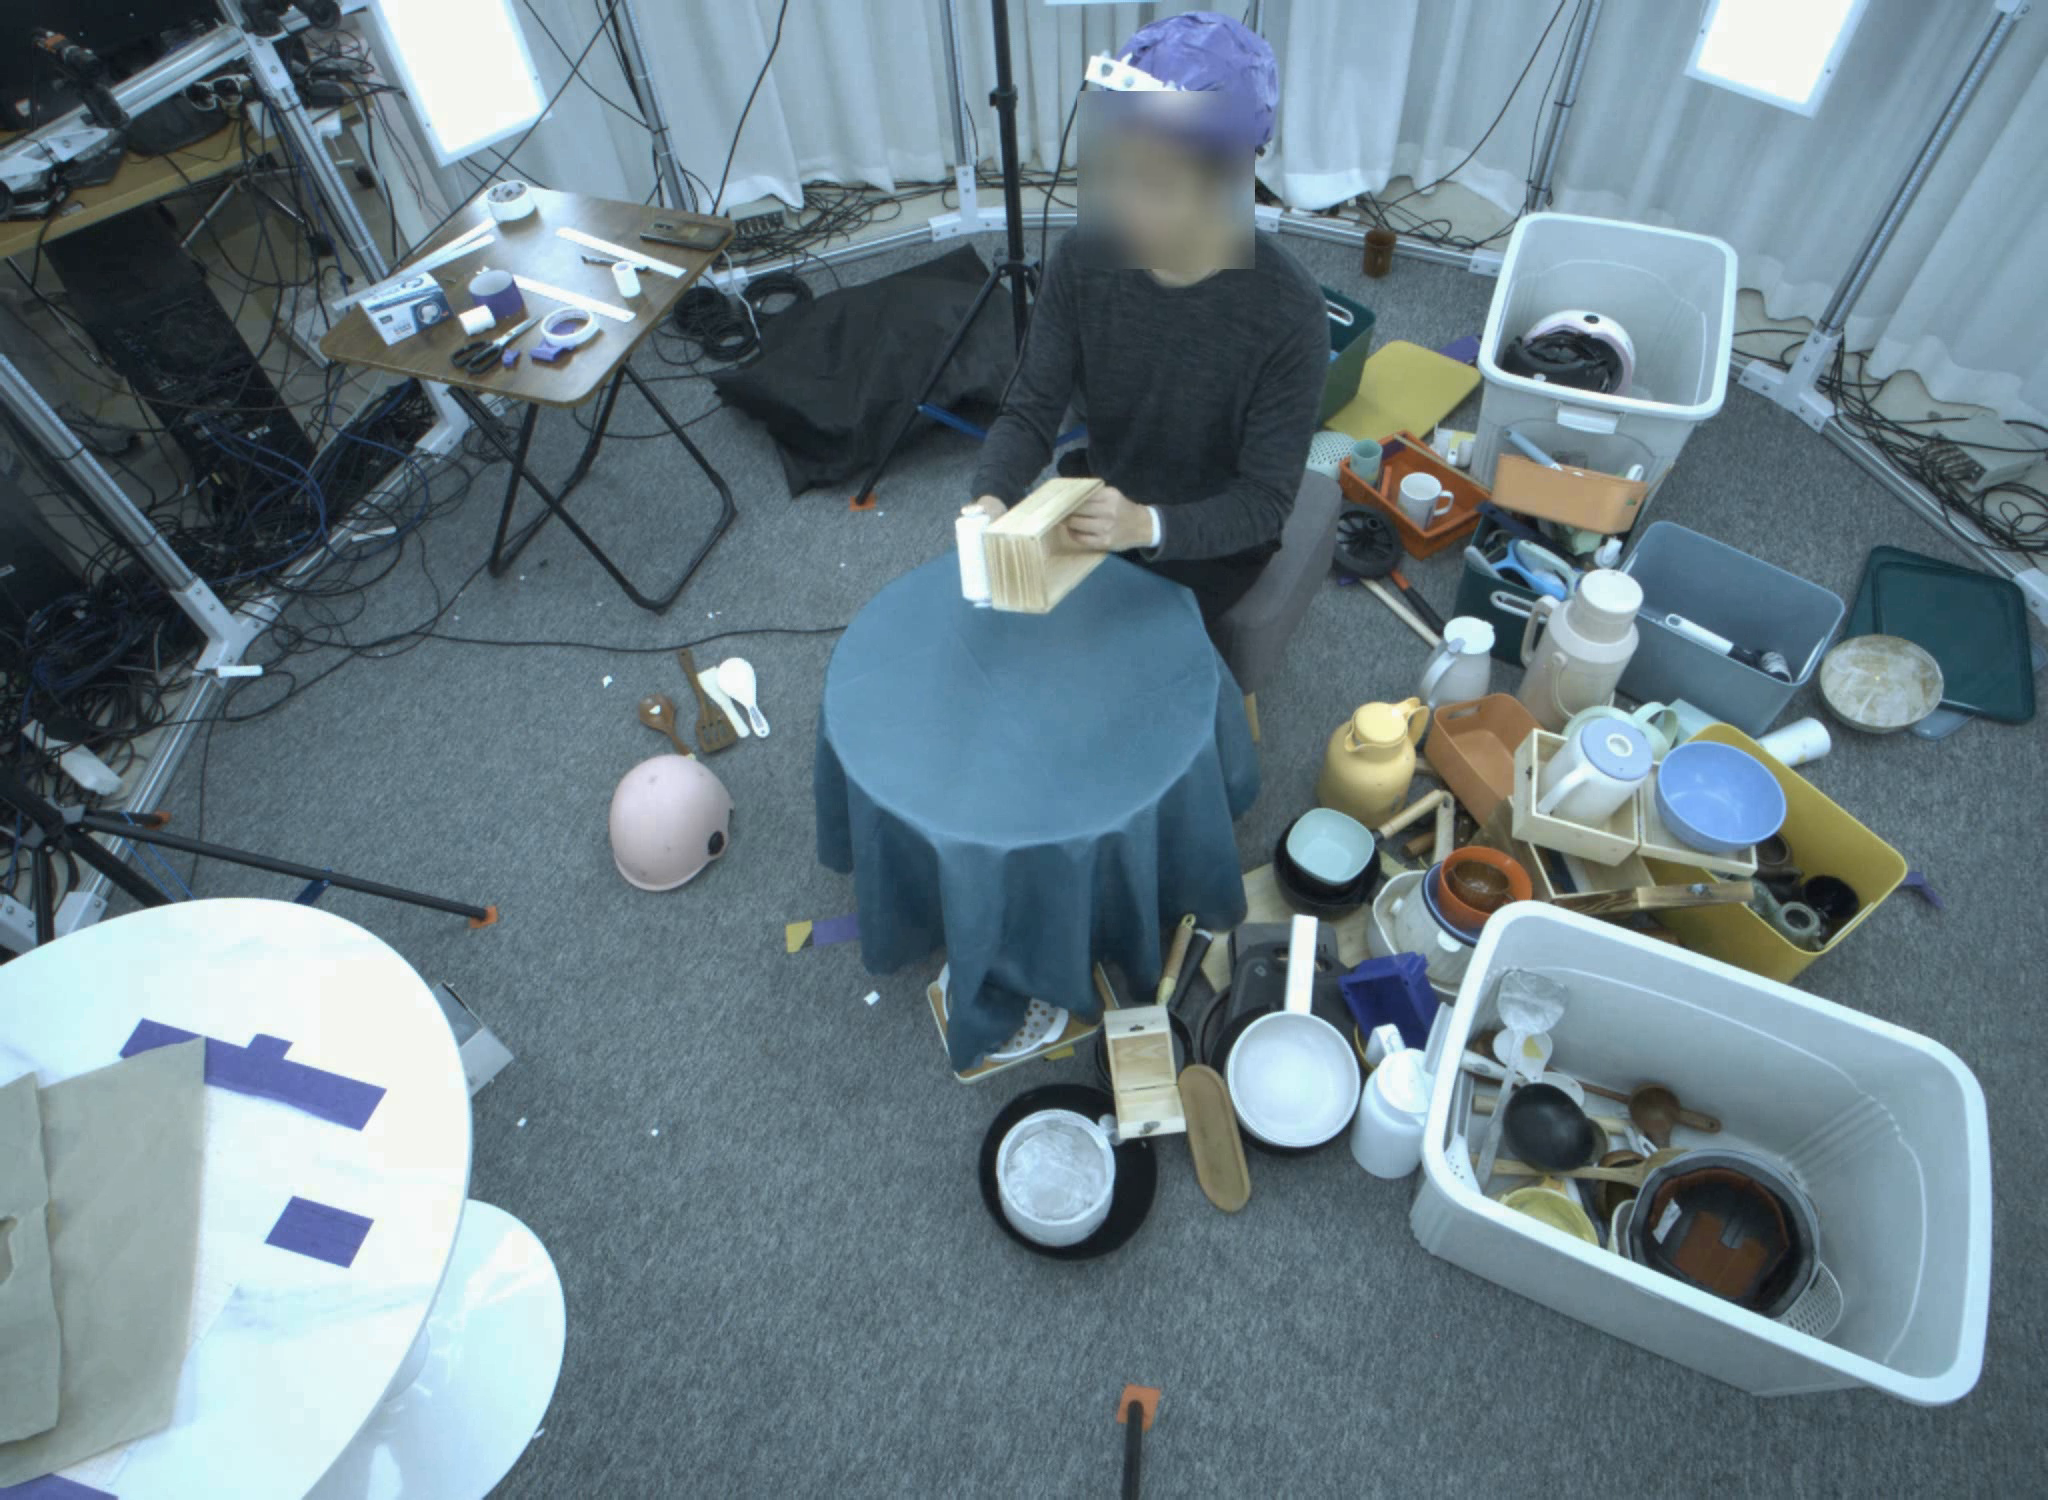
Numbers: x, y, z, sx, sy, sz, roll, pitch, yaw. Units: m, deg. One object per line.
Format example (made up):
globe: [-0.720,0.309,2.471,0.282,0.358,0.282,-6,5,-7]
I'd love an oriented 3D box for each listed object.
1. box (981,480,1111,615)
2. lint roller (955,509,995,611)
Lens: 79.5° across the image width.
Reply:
box: [0.033,-0.269,1.603,0.079,0.109,0.212,7,34,25]
lint roller: [-0.064,-0.268,1.655,0.050,0.134,0.179,-7,21,-1]
